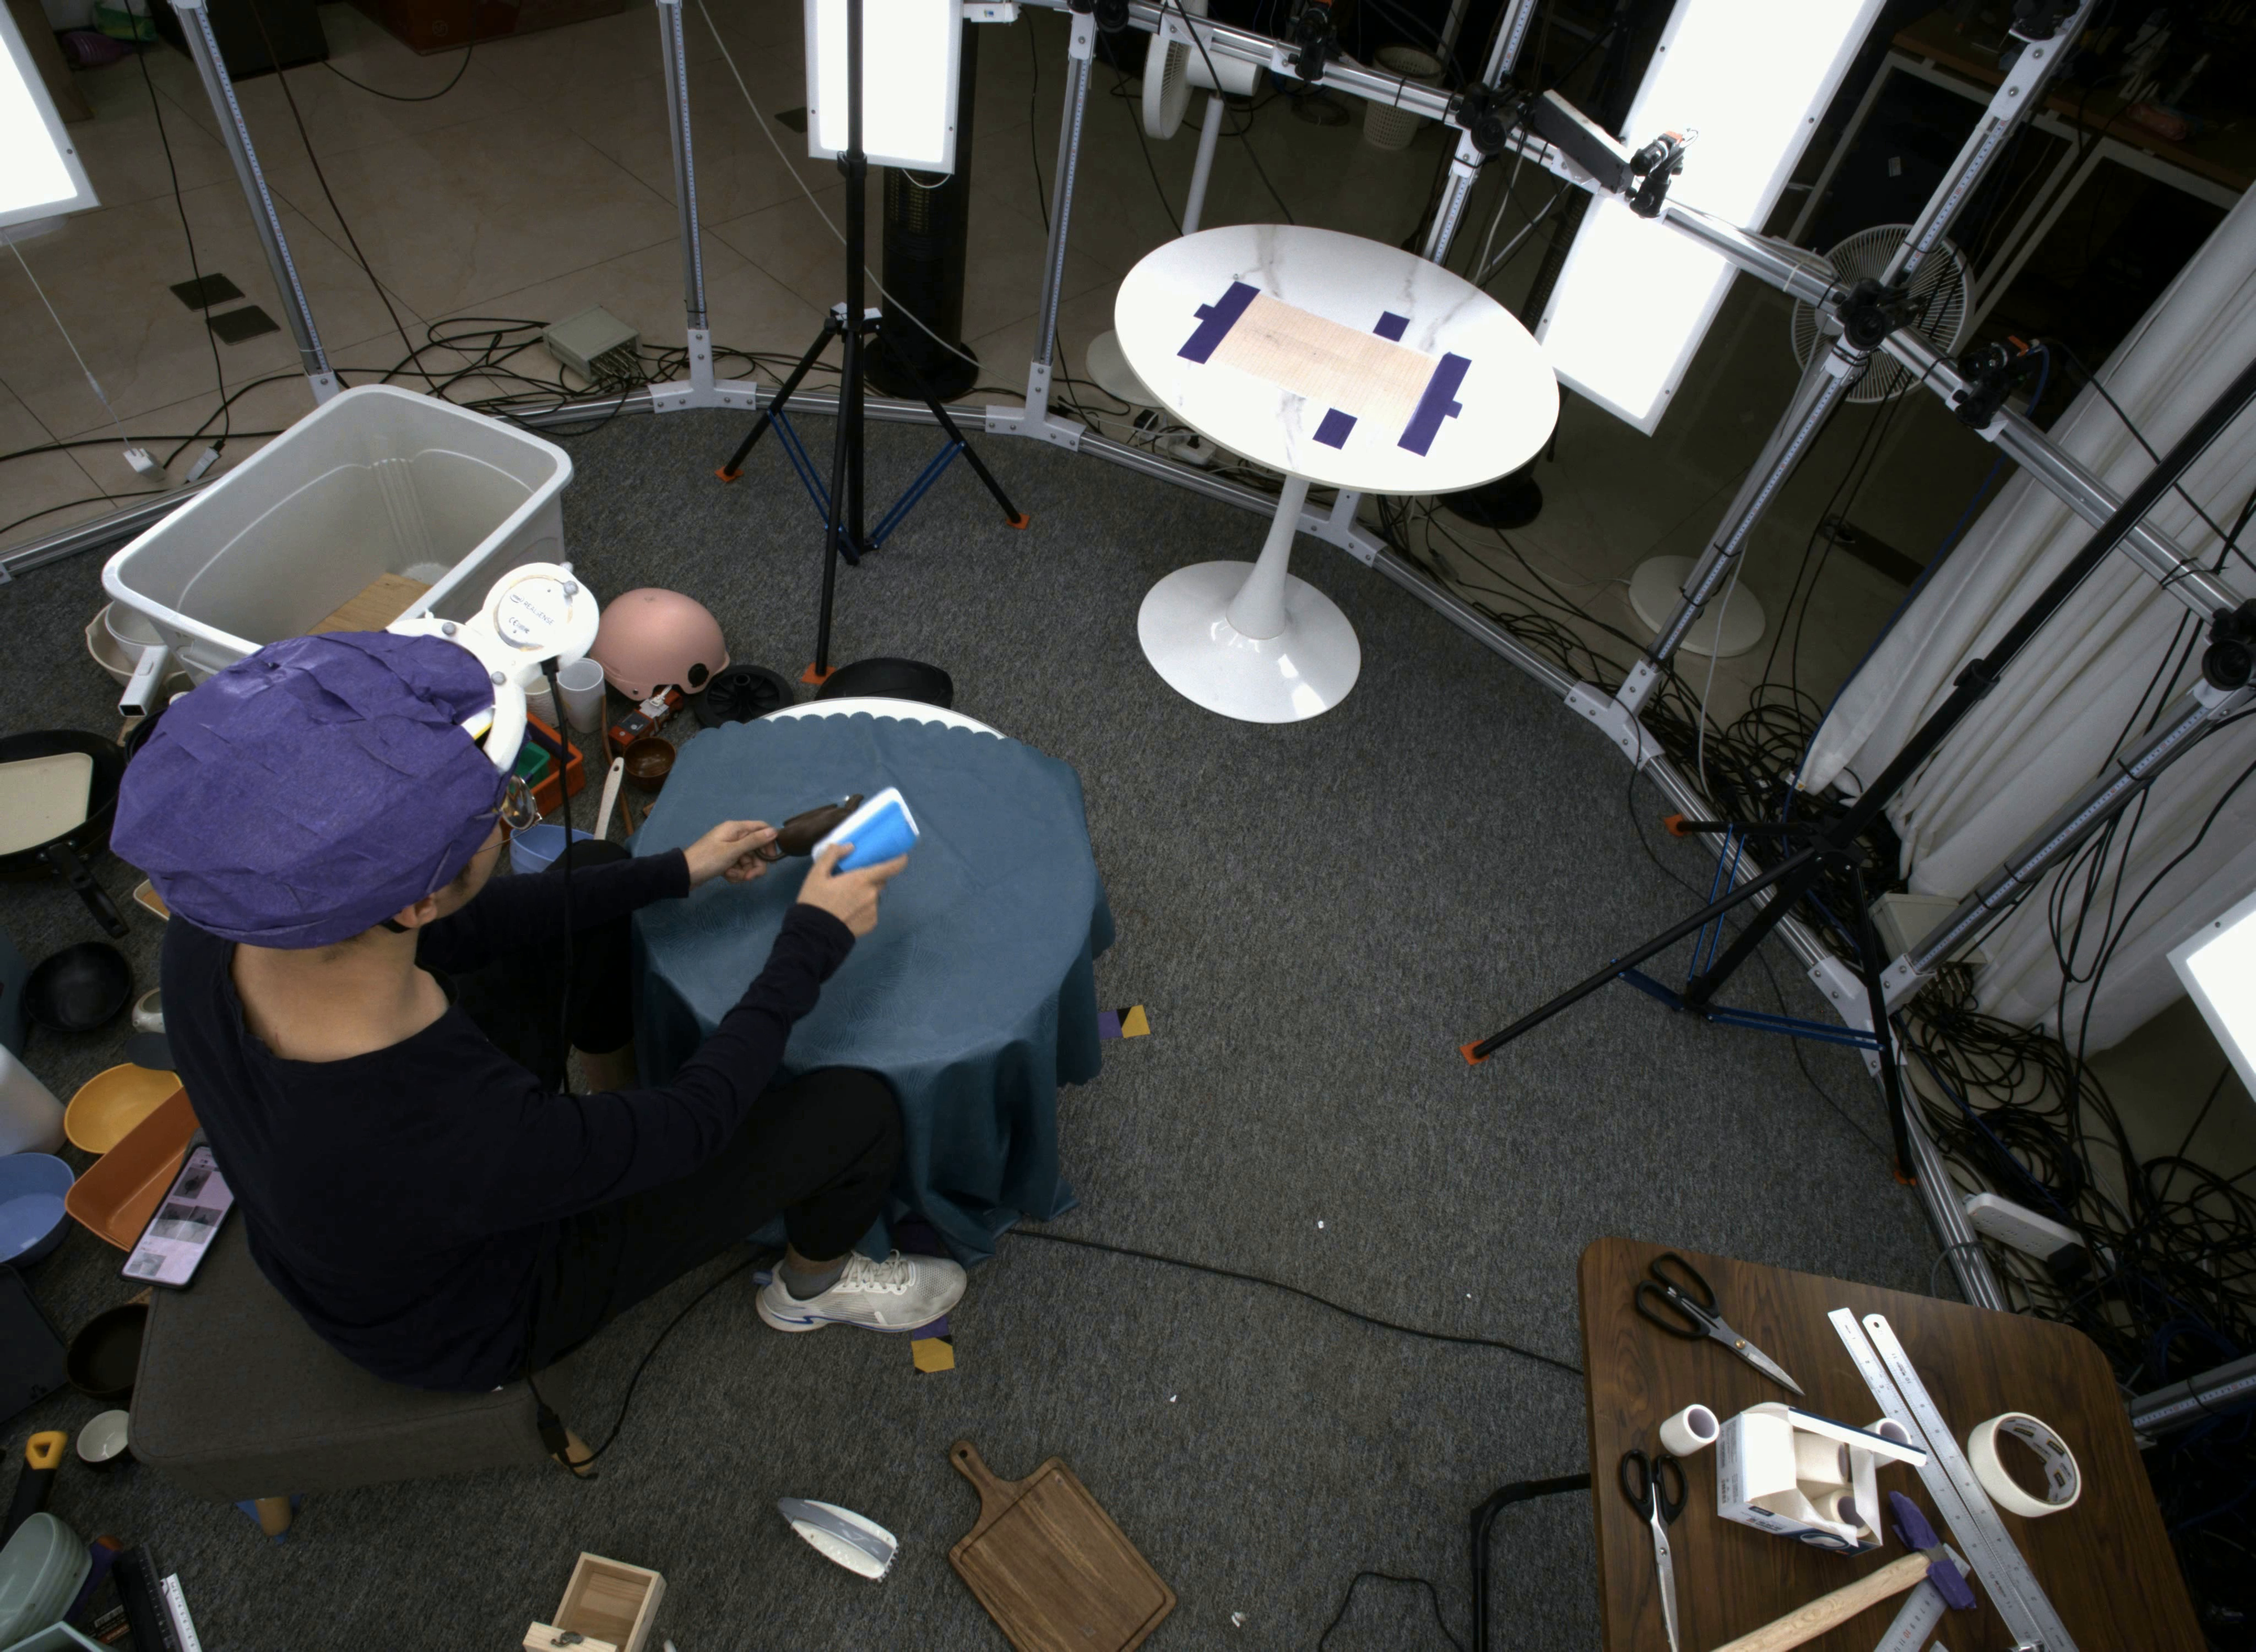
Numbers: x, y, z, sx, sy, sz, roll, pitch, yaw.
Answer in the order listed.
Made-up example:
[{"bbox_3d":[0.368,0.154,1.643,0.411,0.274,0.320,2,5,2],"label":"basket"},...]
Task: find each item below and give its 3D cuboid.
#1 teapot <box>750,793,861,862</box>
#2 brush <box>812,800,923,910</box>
[{"bbox_3d":[-0.401,0.004,1.633,0.154,0.101,0.054,-21,88,-28],"label":"teapot"},{"bbox_3d":[-0.309,0.034,1.574,0.144,0.087,0.054,-39,32,-30],"label":"brush"}]
